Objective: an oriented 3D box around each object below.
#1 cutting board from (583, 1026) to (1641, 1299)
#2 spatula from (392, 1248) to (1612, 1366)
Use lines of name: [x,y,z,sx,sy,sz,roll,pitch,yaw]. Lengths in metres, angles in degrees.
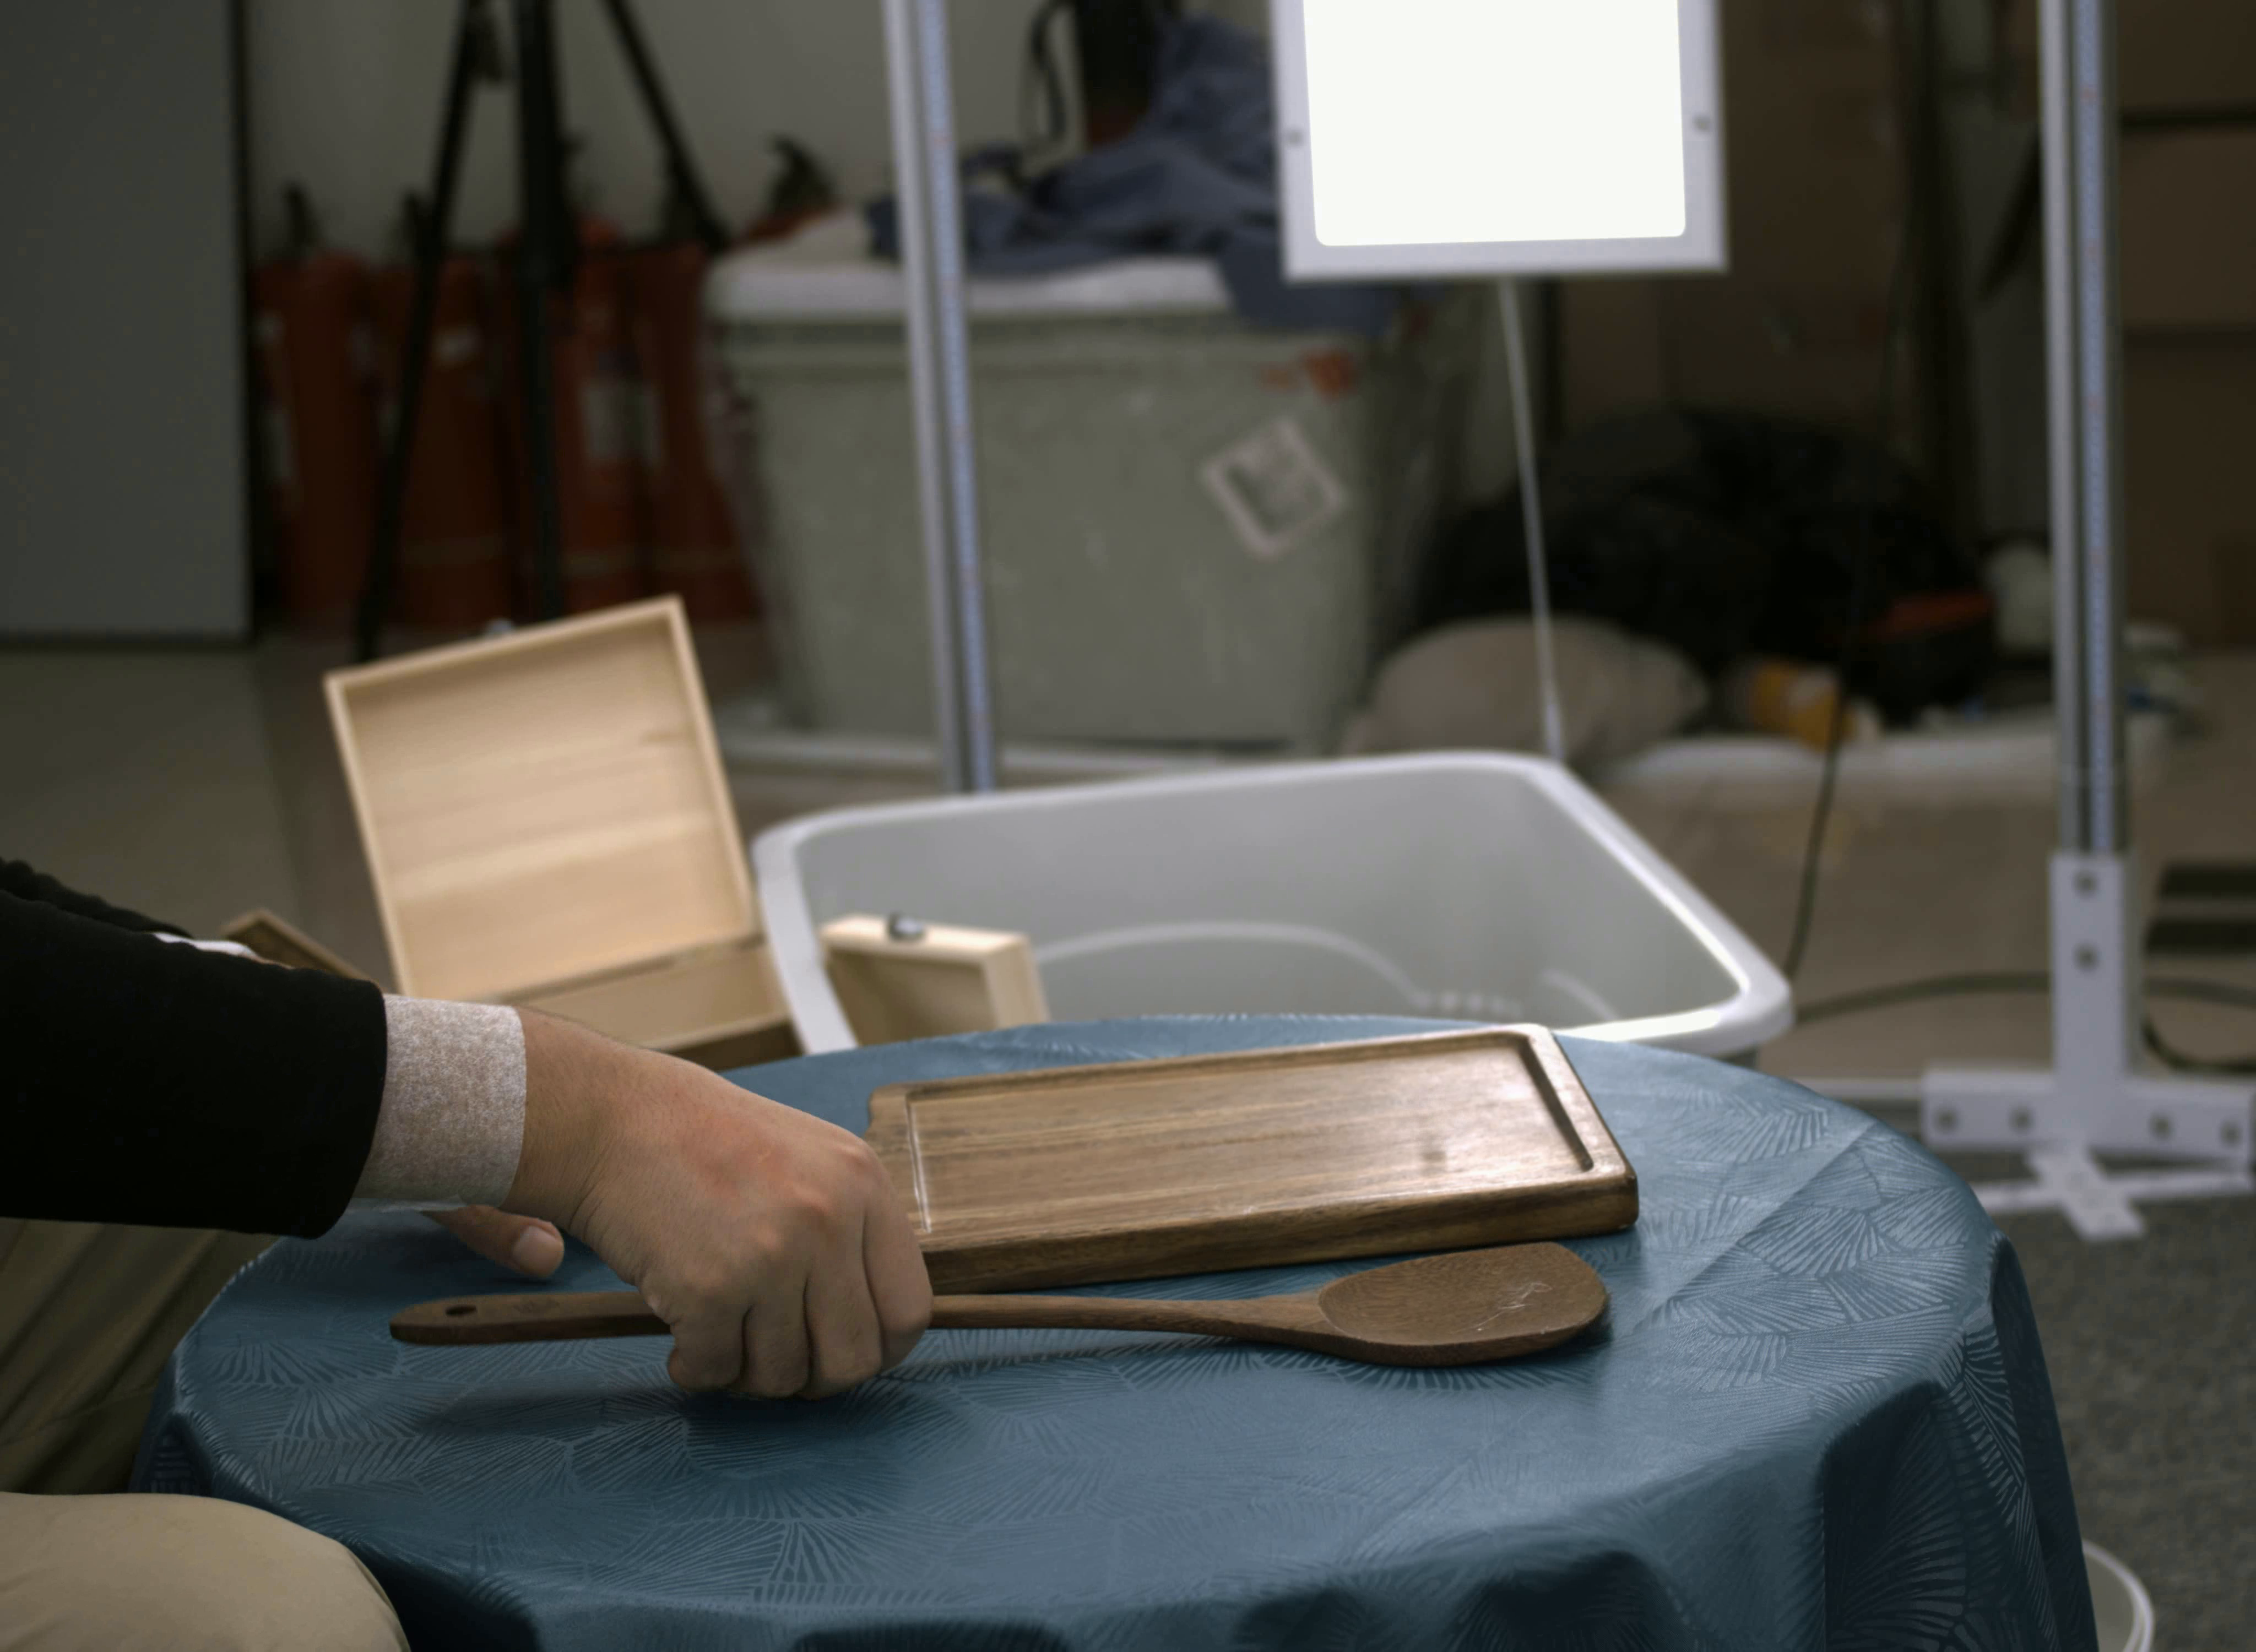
cutting board: [-0.012,0.118,1.895,0.350,0.023,0.201,-6,13,-2]
spatula: [-0.040,0.154,1.737,0.385,0.016,0.096,-1,13,1]
